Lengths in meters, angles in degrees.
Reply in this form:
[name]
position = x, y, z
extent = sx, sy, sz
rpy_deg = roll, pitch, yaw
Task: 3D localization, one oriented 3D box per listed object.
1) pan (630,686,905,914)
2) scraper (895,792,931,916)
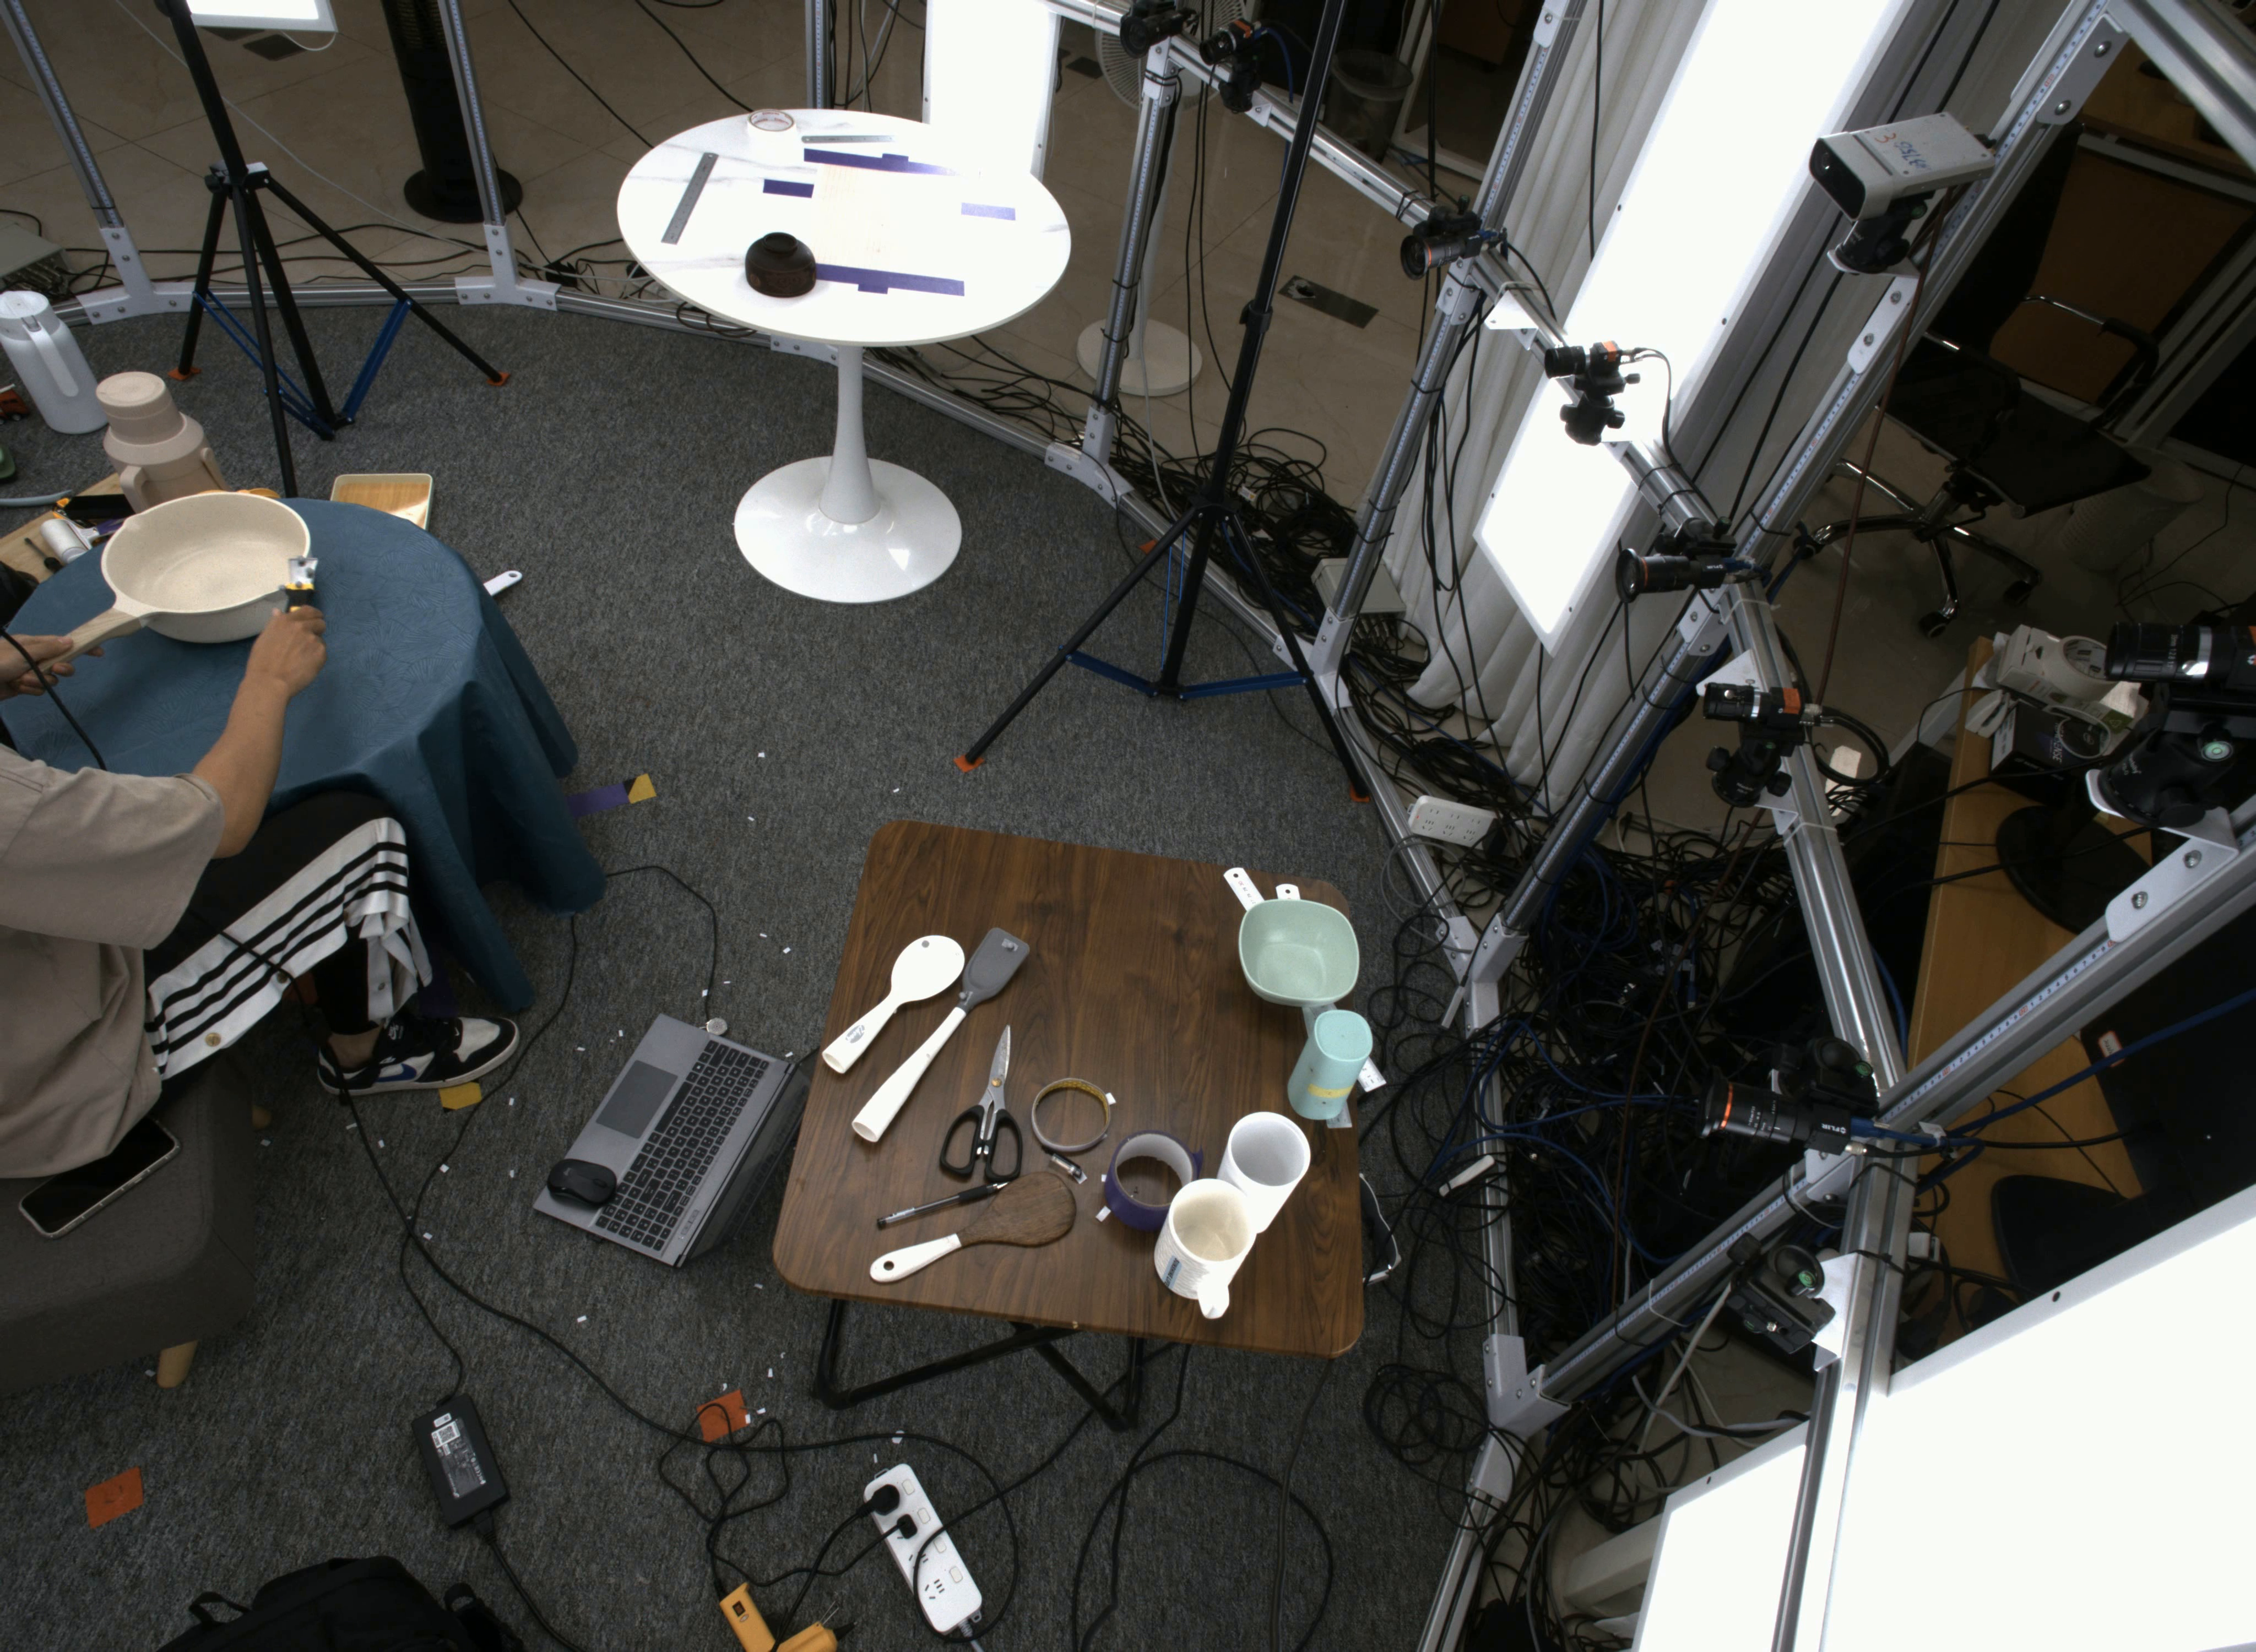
[pan]
position = -0.475, -0.014, 1.673
extent = 0.259, 0.104, 0.434
rpy_deg = 35, 54, 10
[scraper]
position = -0.263, 0.032, 1.578
extent = 0.039, 0.015, 0.168
rpy_deg = 11, 56, -19
